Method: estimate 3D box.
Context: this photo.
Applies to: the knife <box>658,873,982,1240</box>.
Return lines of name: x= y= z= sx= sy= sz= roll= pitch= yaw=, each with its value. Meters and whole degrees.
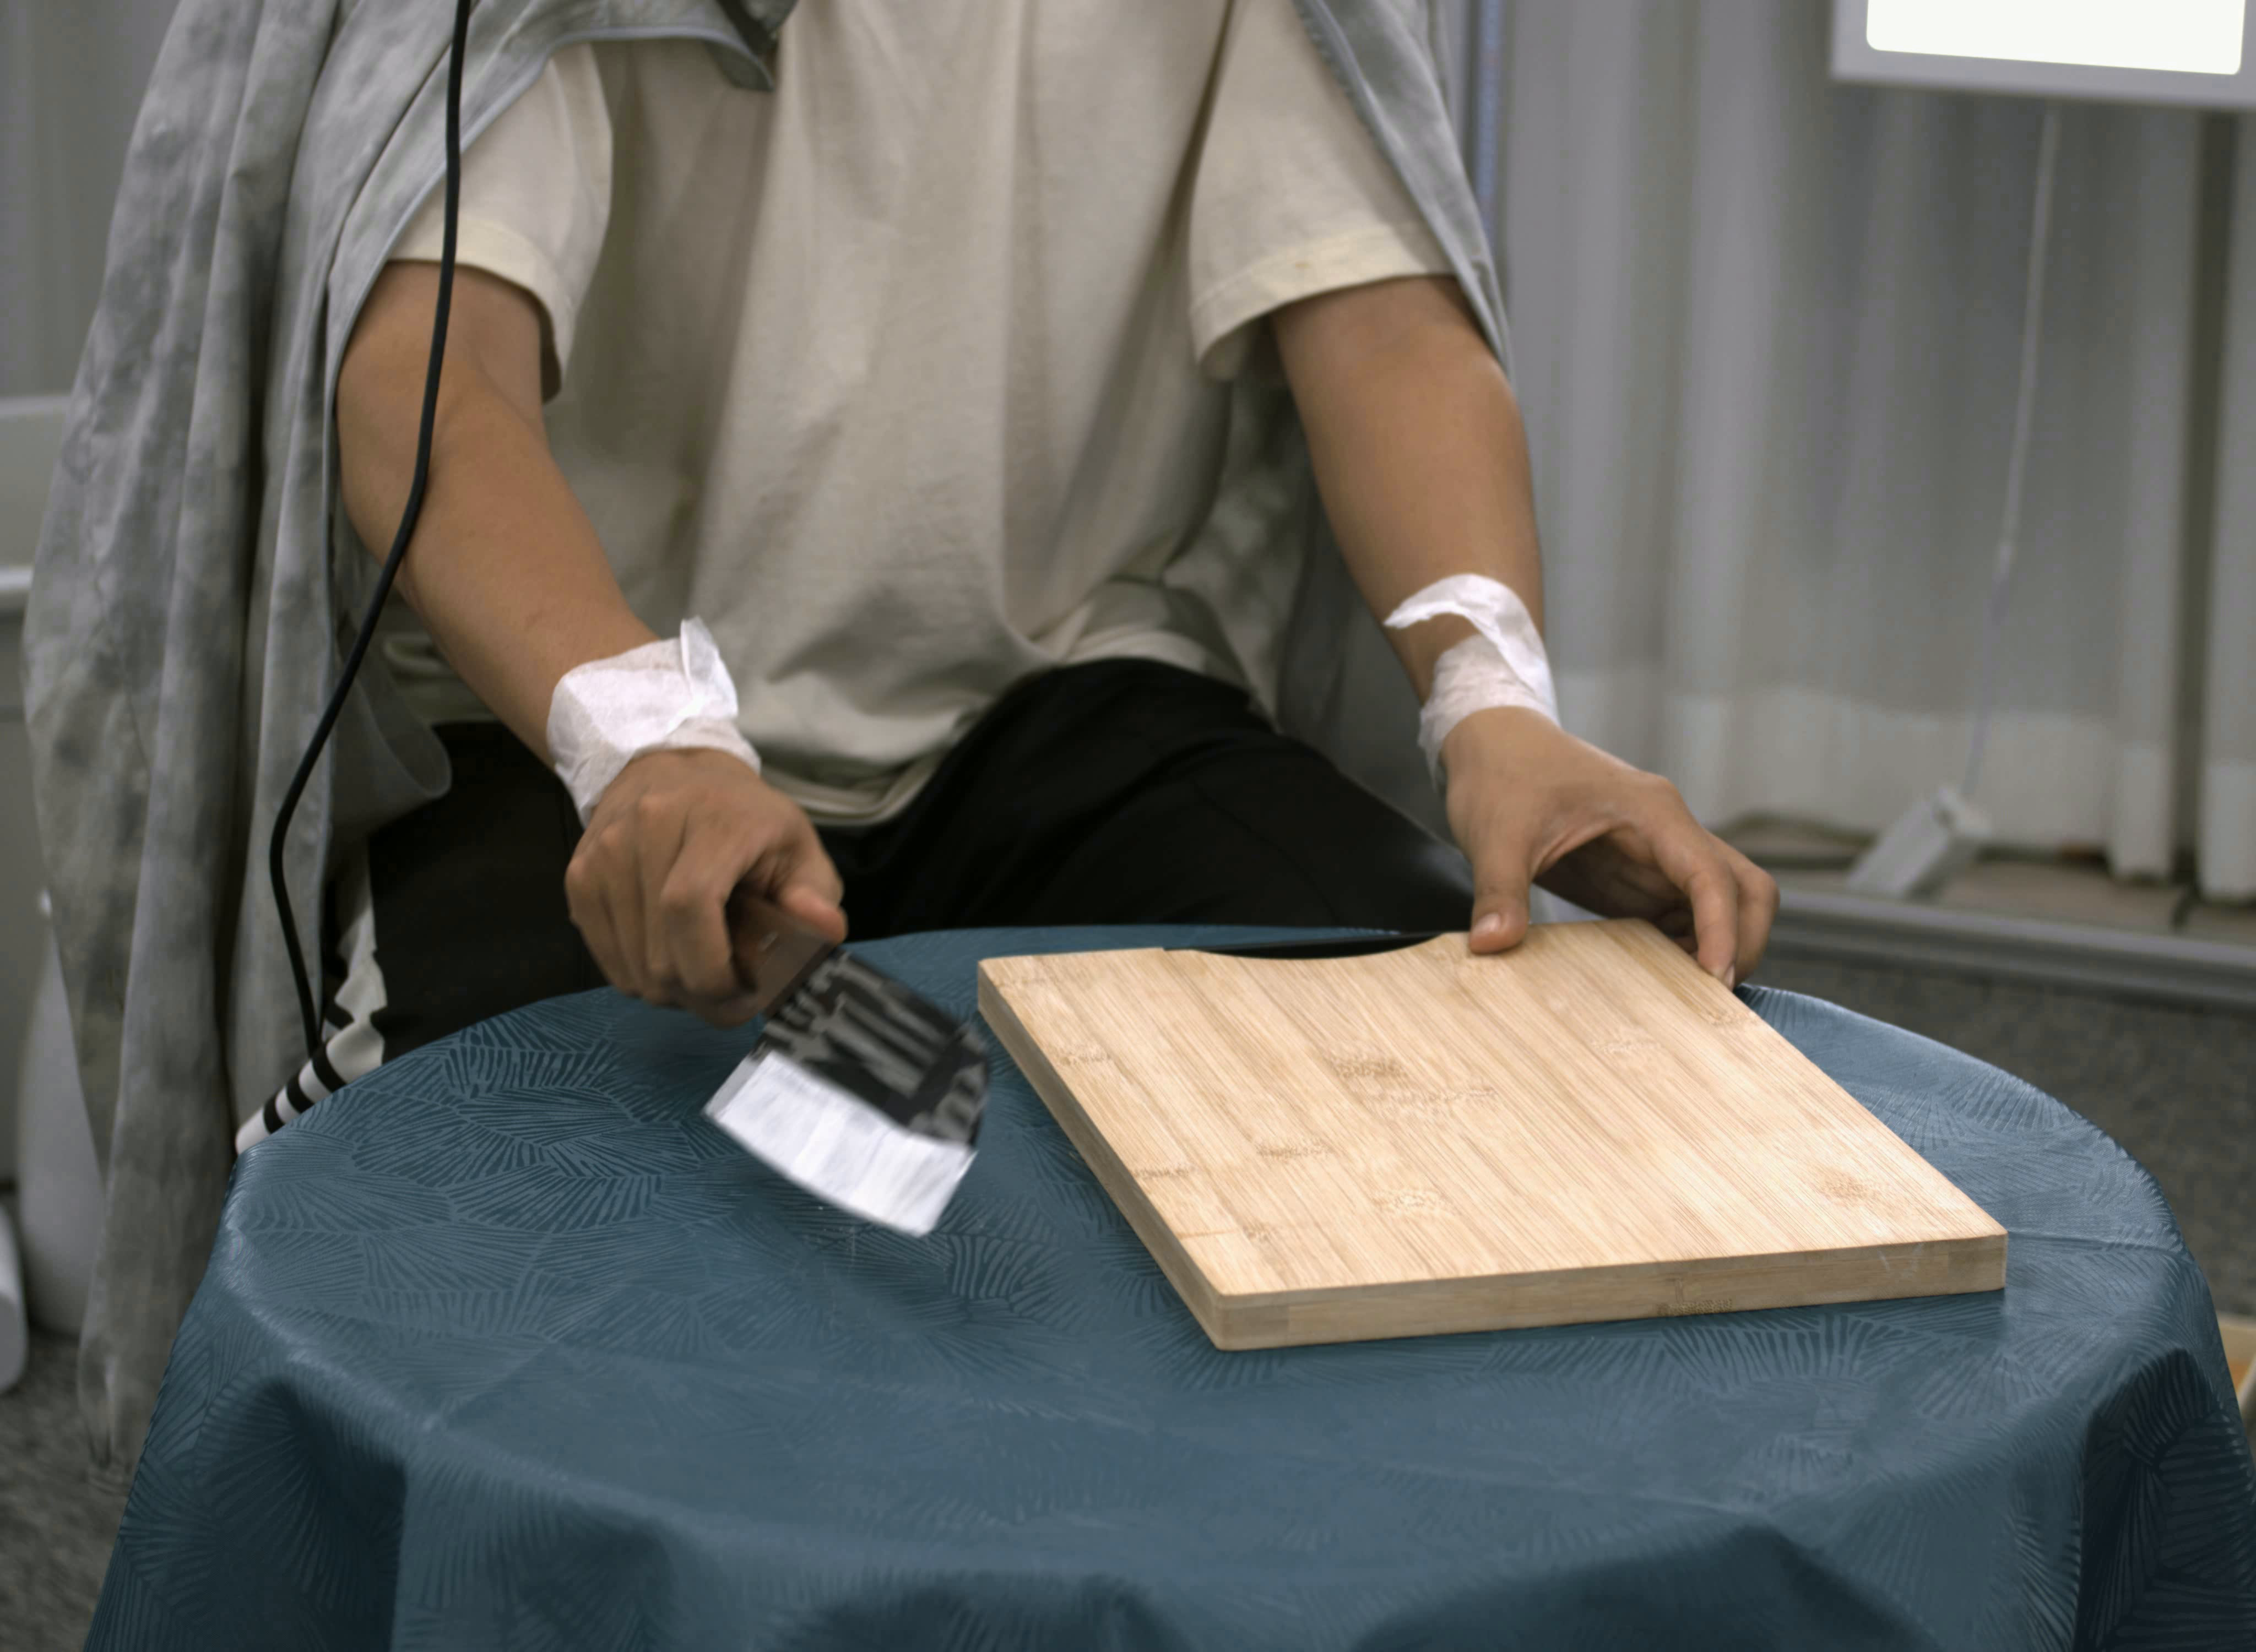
knife: x=-0.102 y=0.068 z=1.614 sx=0.024 sy=0.068 sz=0.296 roll=42 pitch=-6 yaw=-25

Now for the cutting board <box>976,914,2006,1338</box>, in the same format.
cutting board: x=0.103 y=0.090 z=1.681 sx=0.251 sy=0.024 sz=0.345 roll=-3 pitch=16 yaw=-14
